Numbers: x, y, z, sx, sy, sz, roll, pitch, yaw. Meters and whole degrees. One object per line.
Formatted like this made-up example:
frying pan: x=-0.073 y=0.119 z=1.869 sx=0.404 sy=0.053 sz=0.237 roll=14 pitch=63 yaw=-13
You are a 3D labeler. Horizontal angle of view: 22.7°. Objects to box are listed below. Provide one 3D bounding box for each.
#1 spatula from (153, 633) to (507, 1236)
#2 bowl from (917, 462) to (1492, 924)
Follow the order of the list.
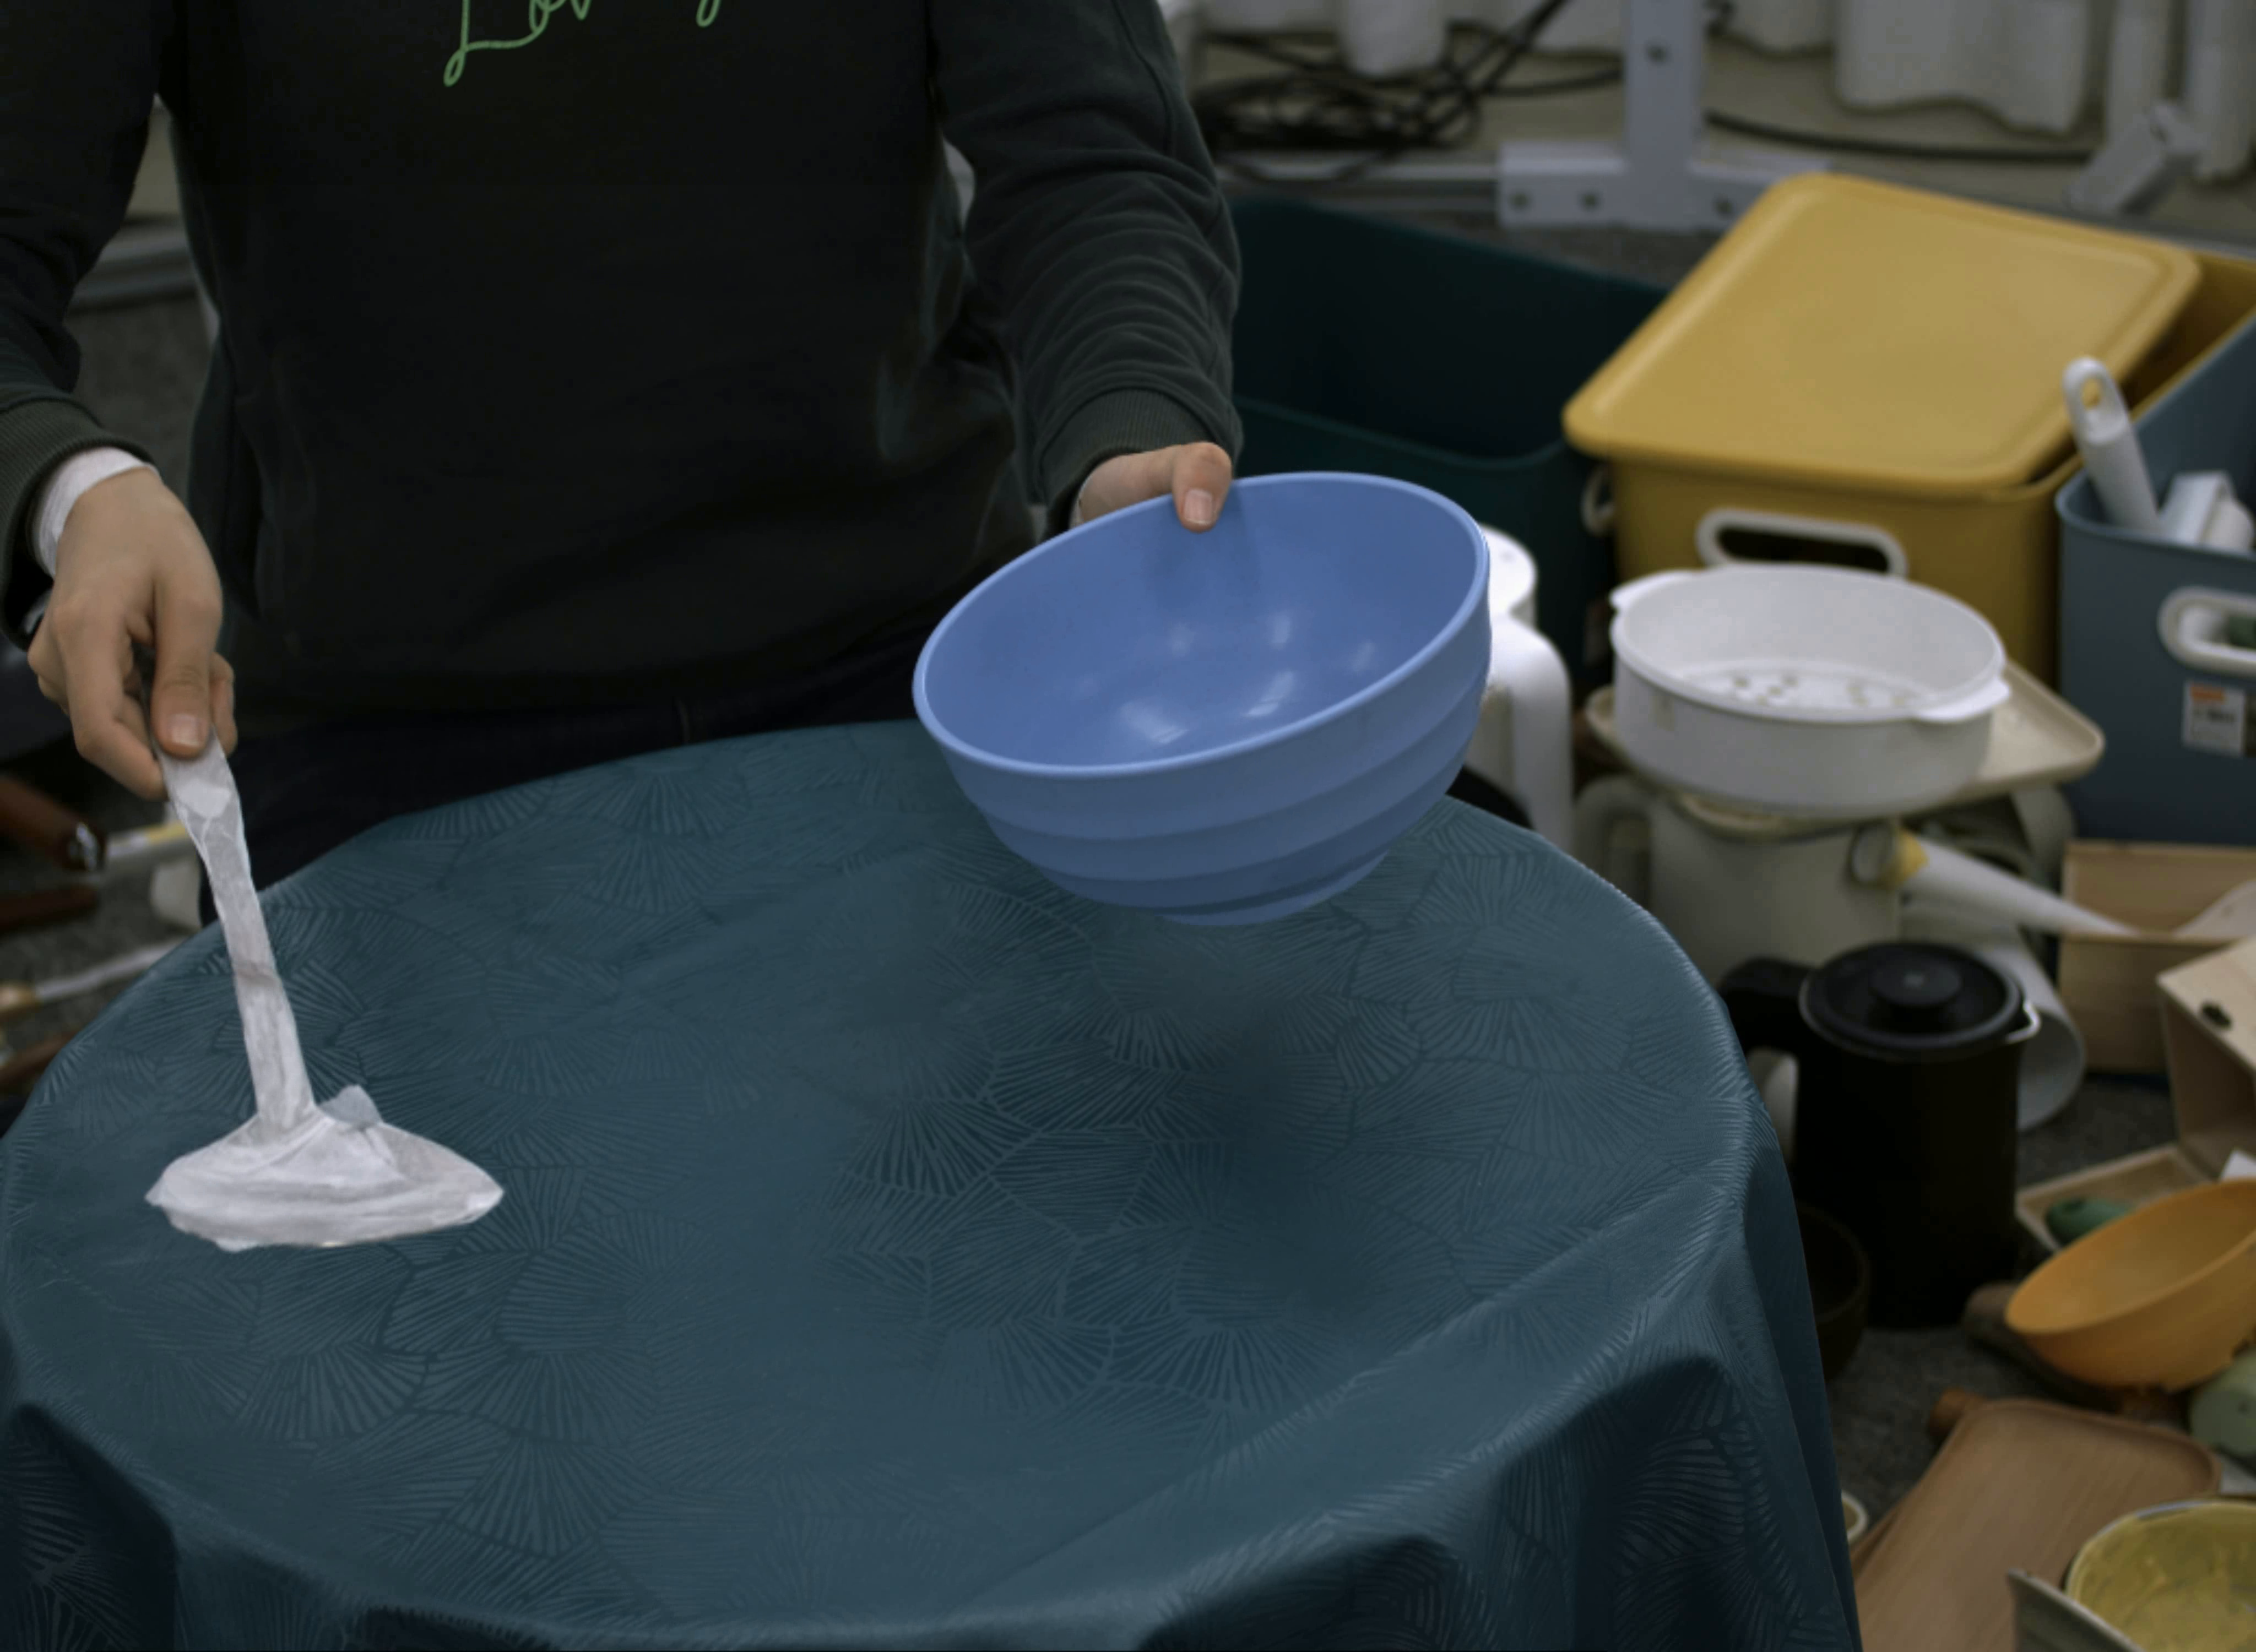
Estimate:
spatula: x=-0.273 y=0.025 z=1.758 sx=0.099 sy=0.044 sz=0.370 roll=-5 pitch=37 yaw=-16
bowl: x=0.035 y=-0.032 z=1.874 sx=0.195 sy=0.094 sz=0.200 roll=-13 pitch=29 yaw=7
